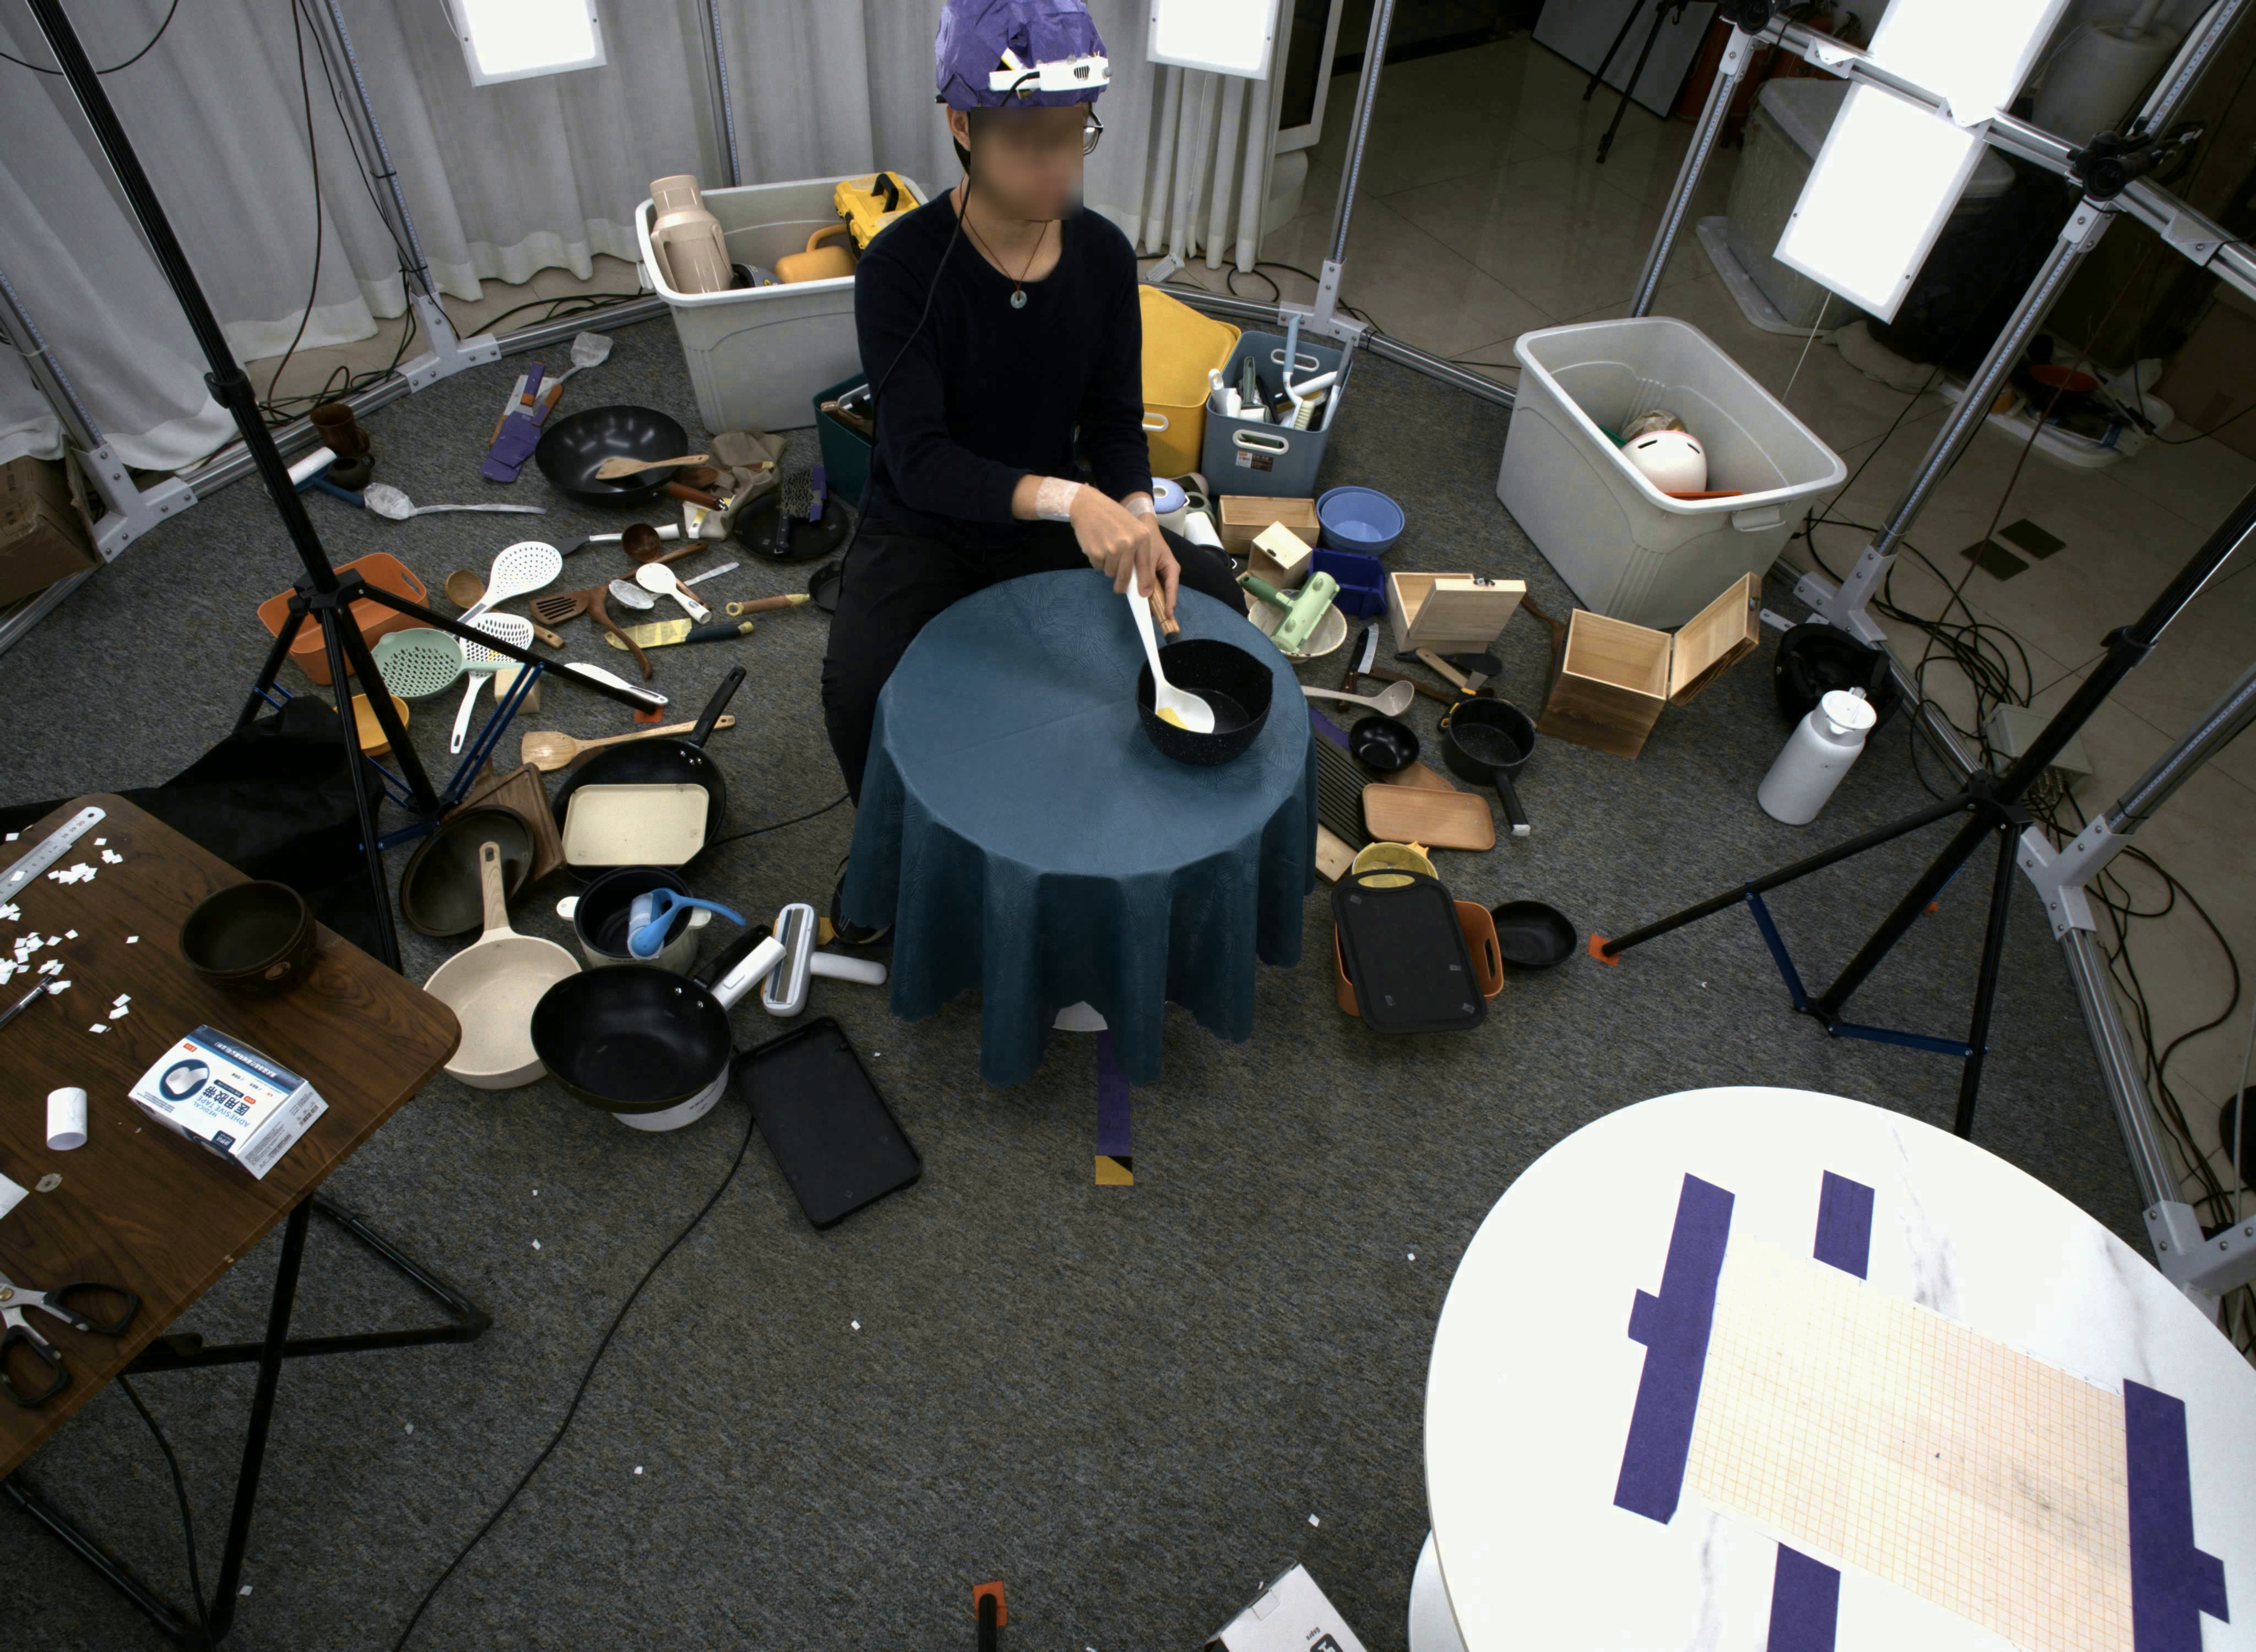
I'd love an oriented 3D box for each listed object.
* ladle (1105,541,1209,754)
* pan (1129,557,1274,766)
[{"bbox_3d":[0.033,-0.235,1.709,0.090,0.287,0.071,-27,28,-16],"label":"ladle"},{"bbox_3d":[0.074,-0.231,1.805,0.207,0.105,0.351,-15,53,-15],"label":"pan"}]
